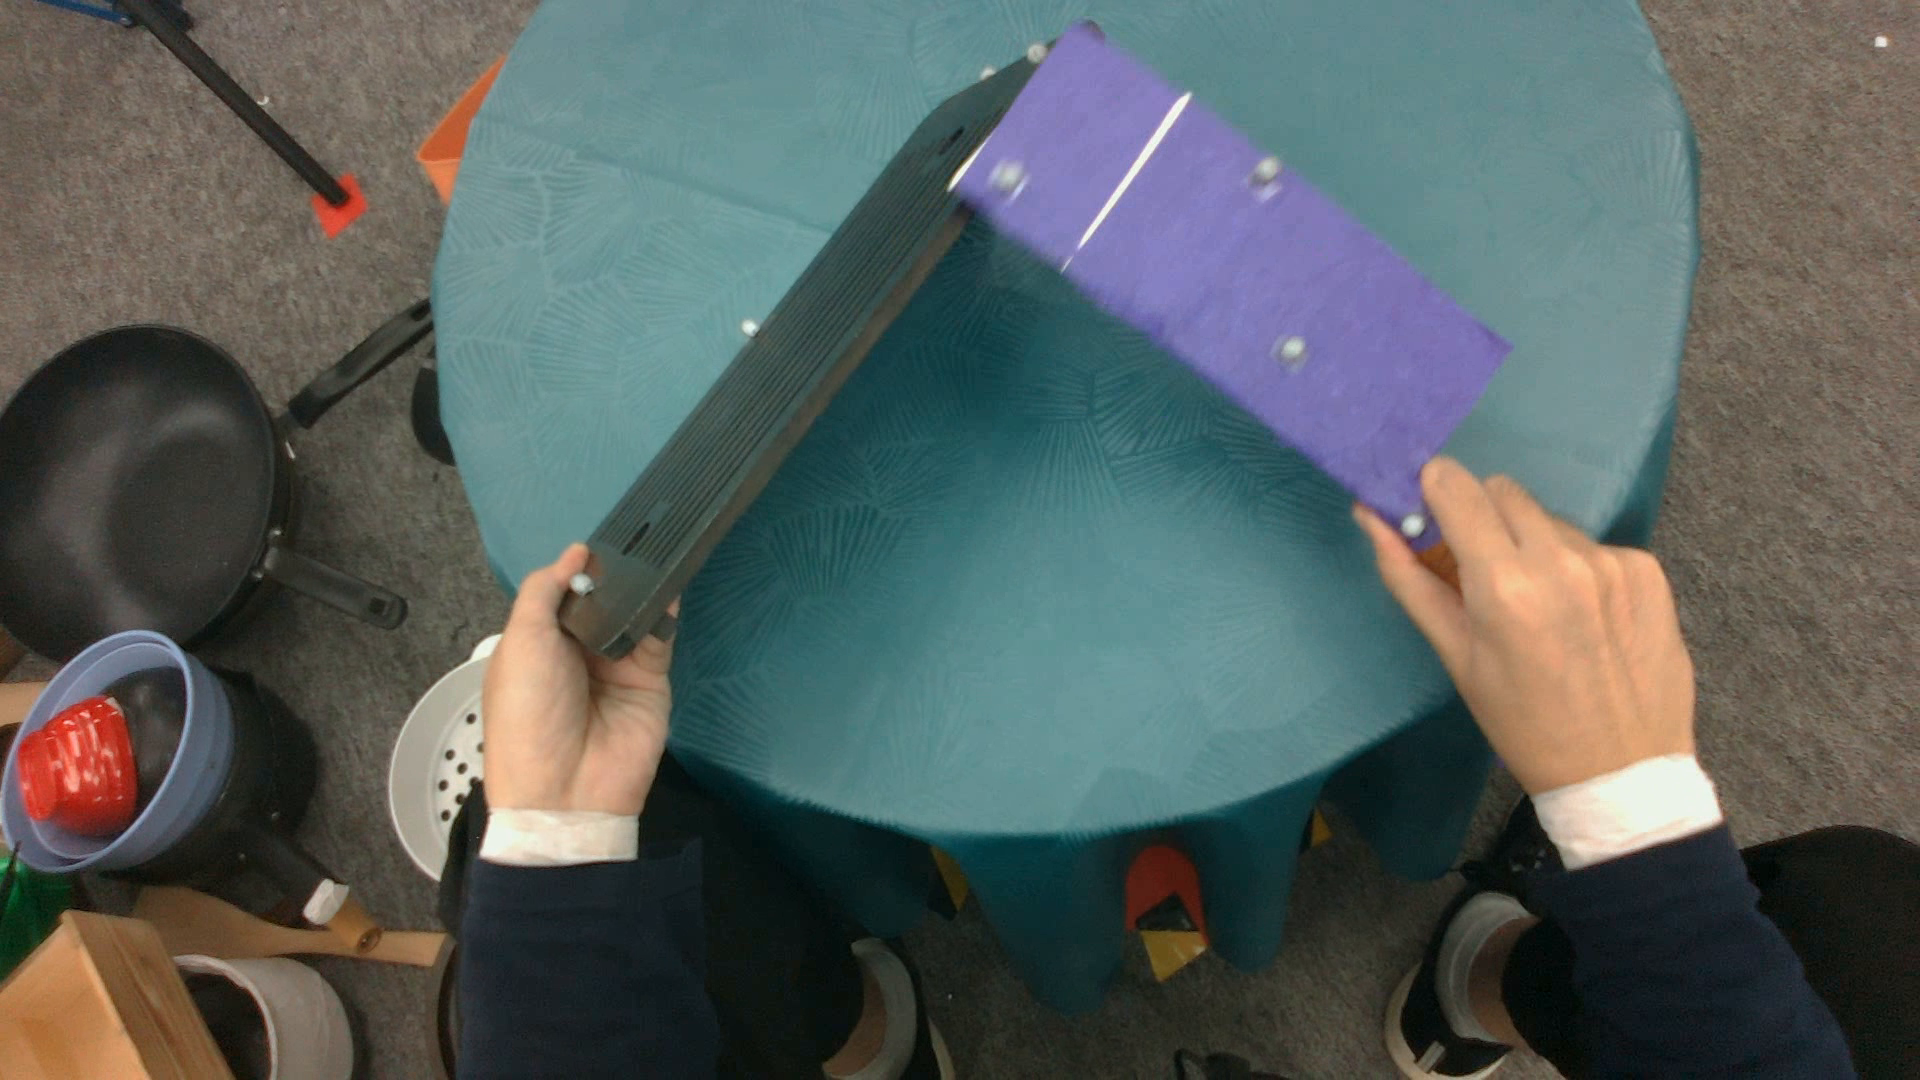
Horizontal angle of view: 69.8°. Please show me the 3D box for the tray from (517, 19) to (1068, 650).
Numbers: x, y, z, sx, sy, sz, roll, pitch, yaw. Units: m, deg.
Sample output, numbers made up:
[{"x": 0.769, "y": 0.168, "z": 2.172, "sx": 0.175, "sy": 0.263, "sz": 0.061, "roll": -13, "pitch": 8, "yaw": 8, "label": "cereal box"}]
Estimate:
[{"x": -0.074, "y": -0.087, "z": 0.580, "sx": 0.018, "sy": 0.170, "sz": 0.306, "roll": 41, "pitch": 77, "yaw": -23, "label": "tray"}]

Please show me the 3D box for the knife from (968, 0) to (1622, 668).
[{"x": 0.148, "y": -0.089, "z": 0.524, "sx": 0.315, "sy": 0.032, "sz": 0.104, "roll": 43, "pitch": 79, "yaw": -3, "label": "knife"}]
